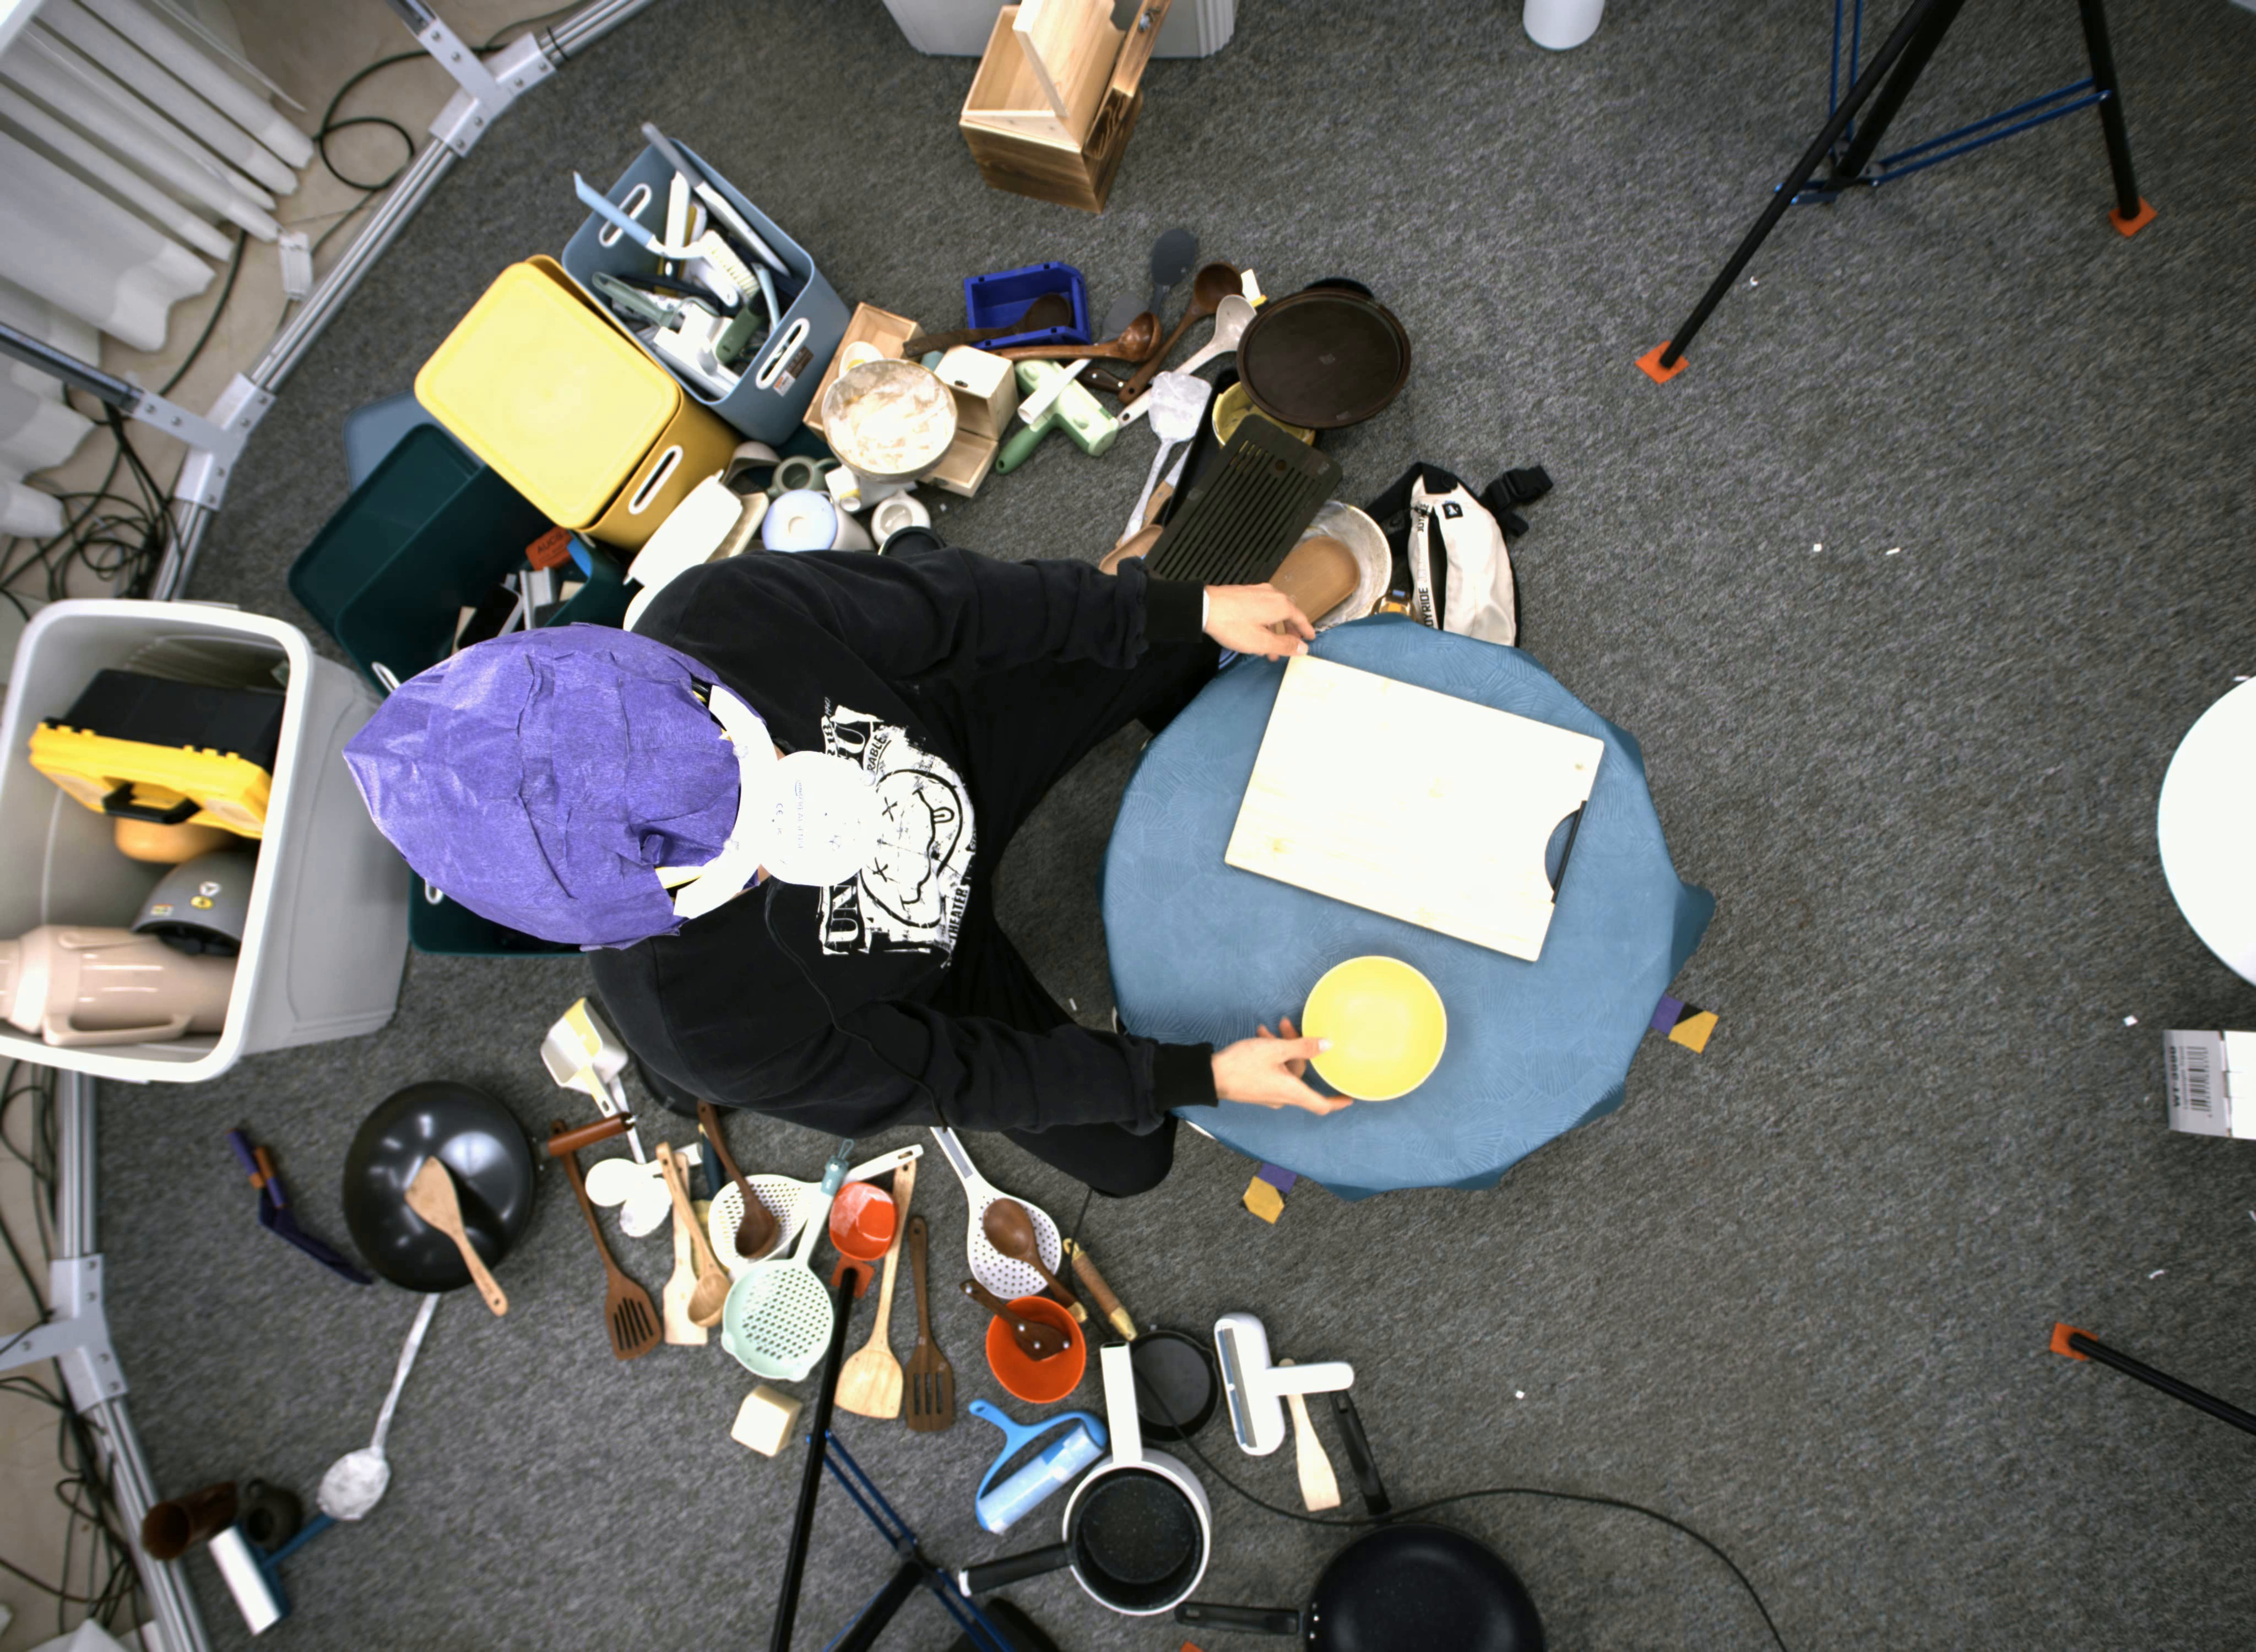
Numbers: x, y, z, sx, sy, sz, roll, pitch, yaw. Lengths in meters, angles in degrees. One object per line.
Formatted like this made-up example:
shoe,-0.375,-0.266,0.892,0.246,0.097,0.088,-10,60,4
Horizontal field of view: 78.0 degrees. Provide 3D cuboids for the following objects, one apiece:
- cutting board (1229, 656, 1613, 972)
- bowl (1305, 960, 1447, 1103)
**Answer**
cutting board,0.307,-0.019,1.456,0.349,0.023,0.250,17,90,11
bowl,0.256,0.211,1.430,0.146,0.060,0.144,-2,82,11
